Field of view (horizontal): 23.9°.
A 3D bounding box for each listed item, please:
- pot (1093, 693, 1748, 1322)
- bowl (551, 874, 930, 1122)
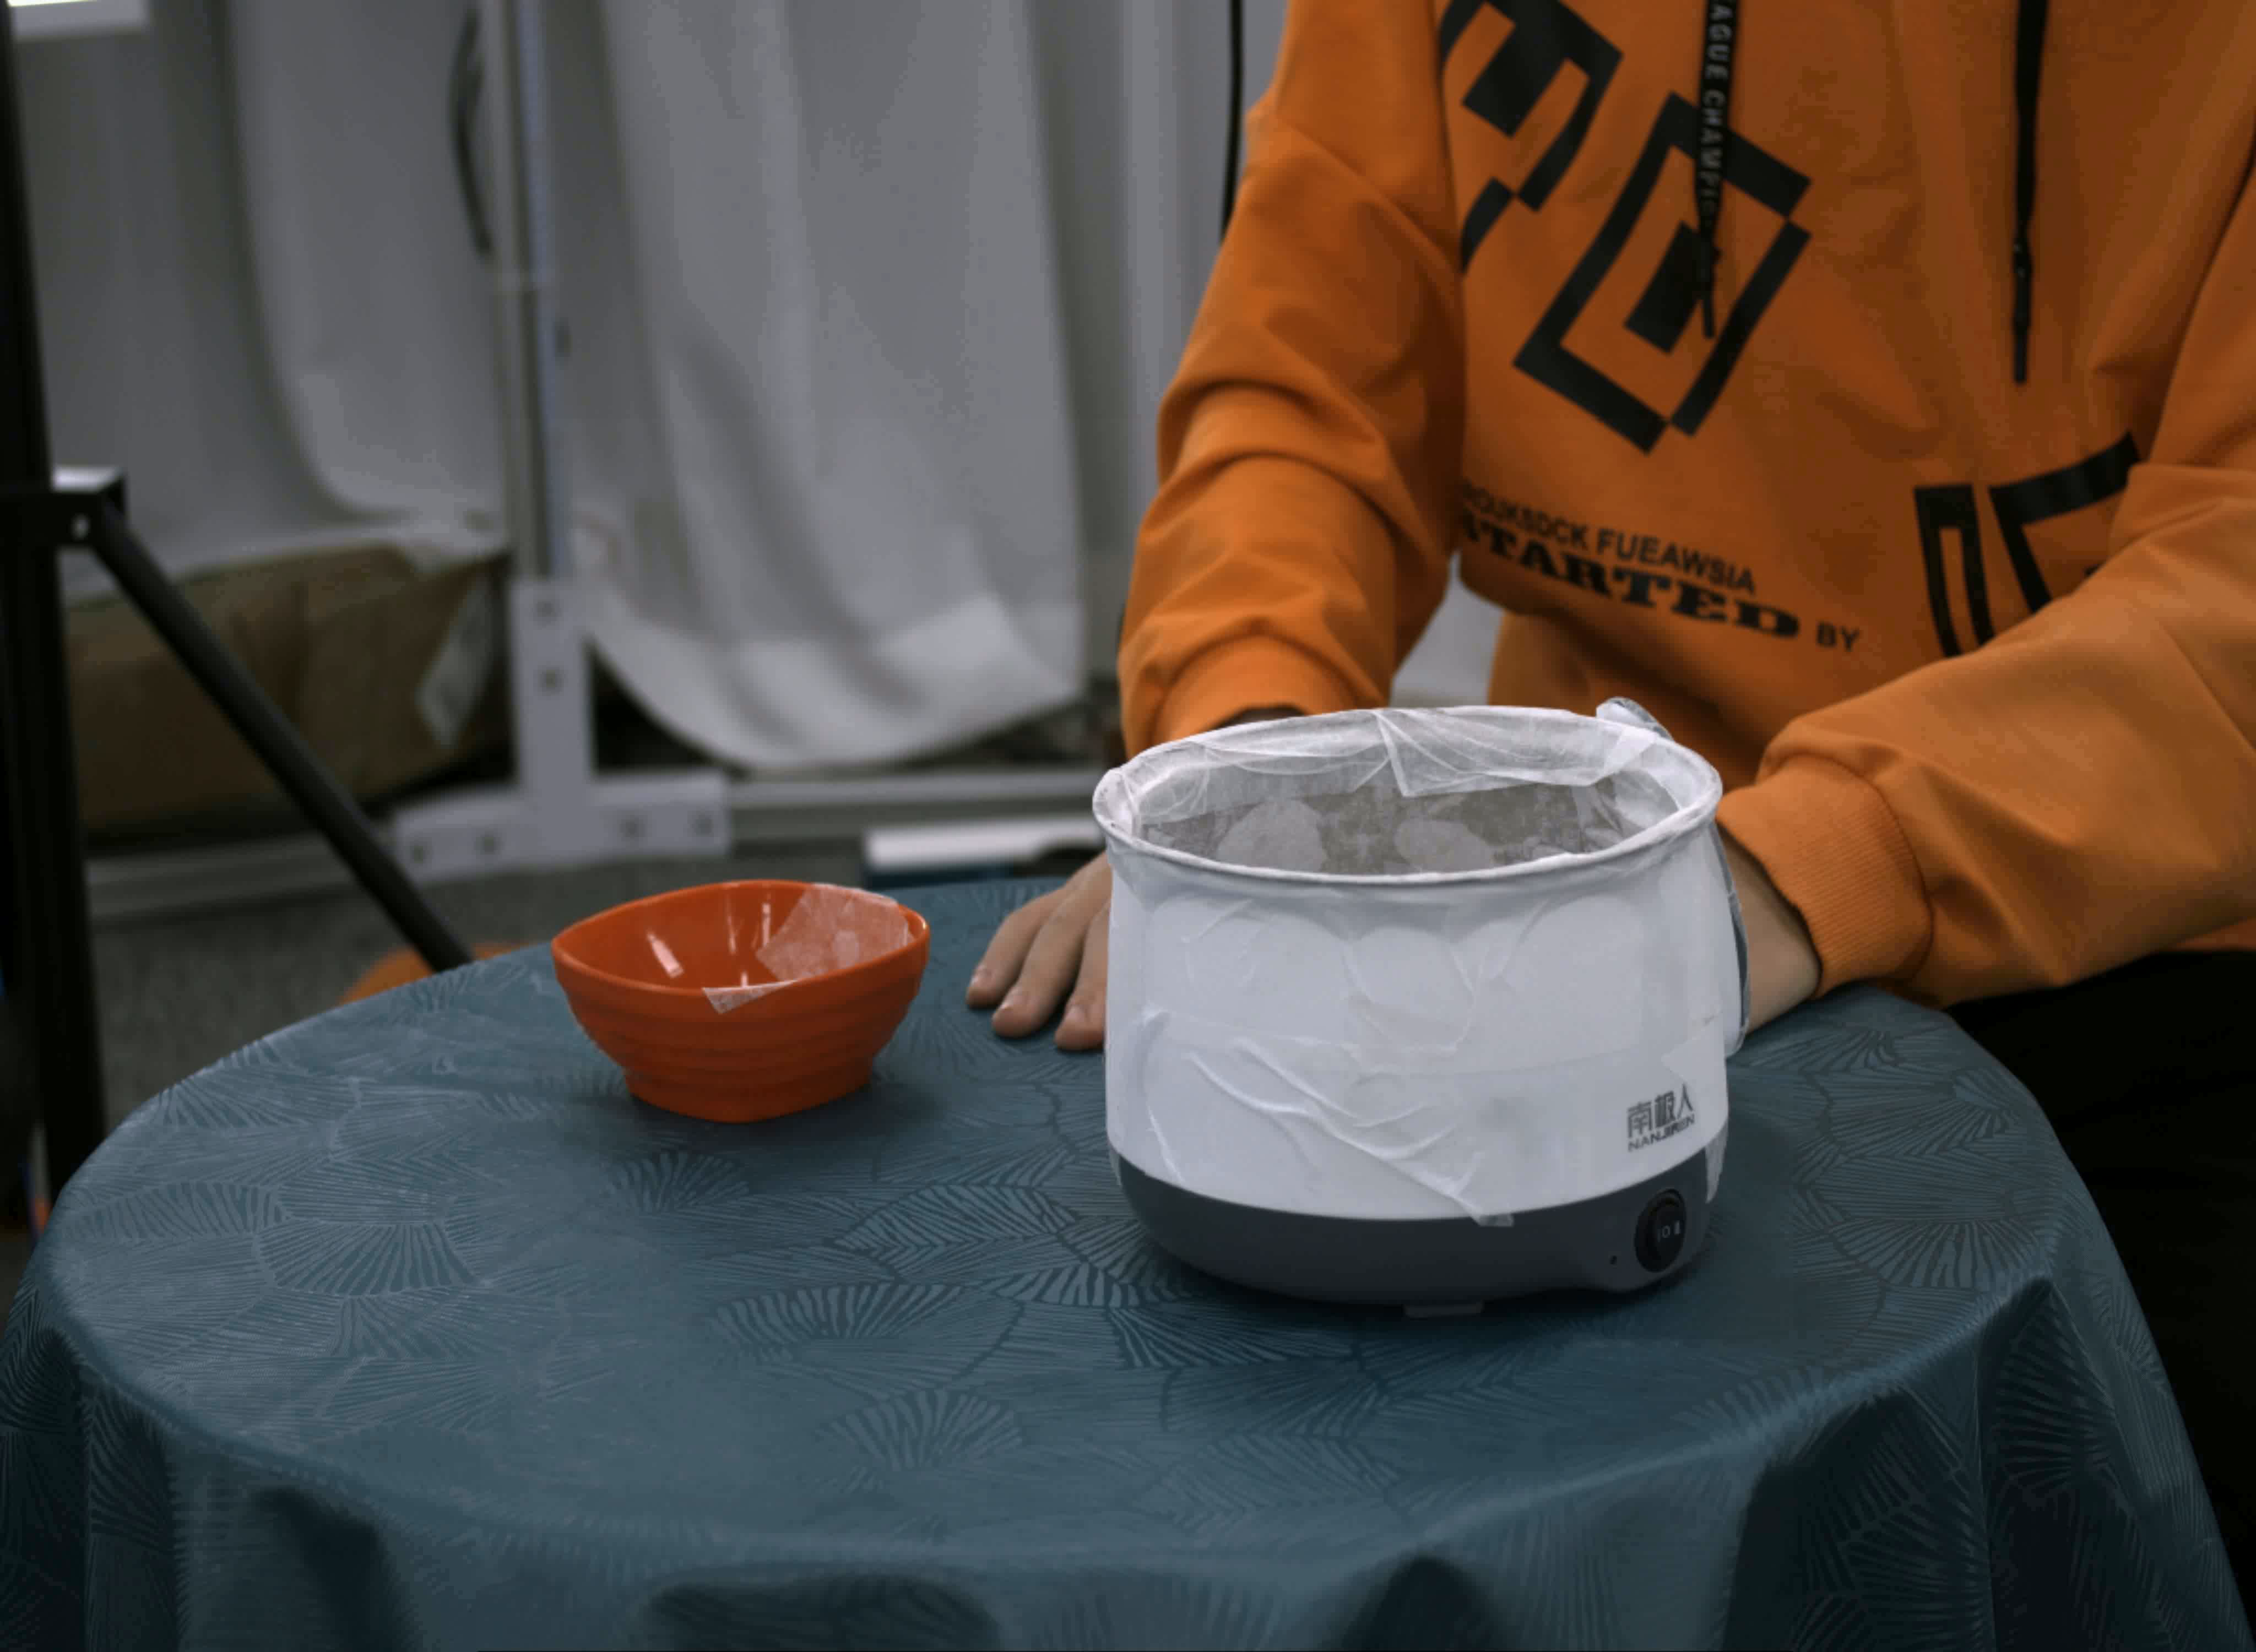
[{"bbox_3d":[0.098,0.044,1.515,0.182,0.136,0.228,12,21,40],"label":"pot"},{"bbox_3d":[-0.119,0.056,1.666,0.118,0.051,0.119,-5,16,0],"label":"bowl"}]
